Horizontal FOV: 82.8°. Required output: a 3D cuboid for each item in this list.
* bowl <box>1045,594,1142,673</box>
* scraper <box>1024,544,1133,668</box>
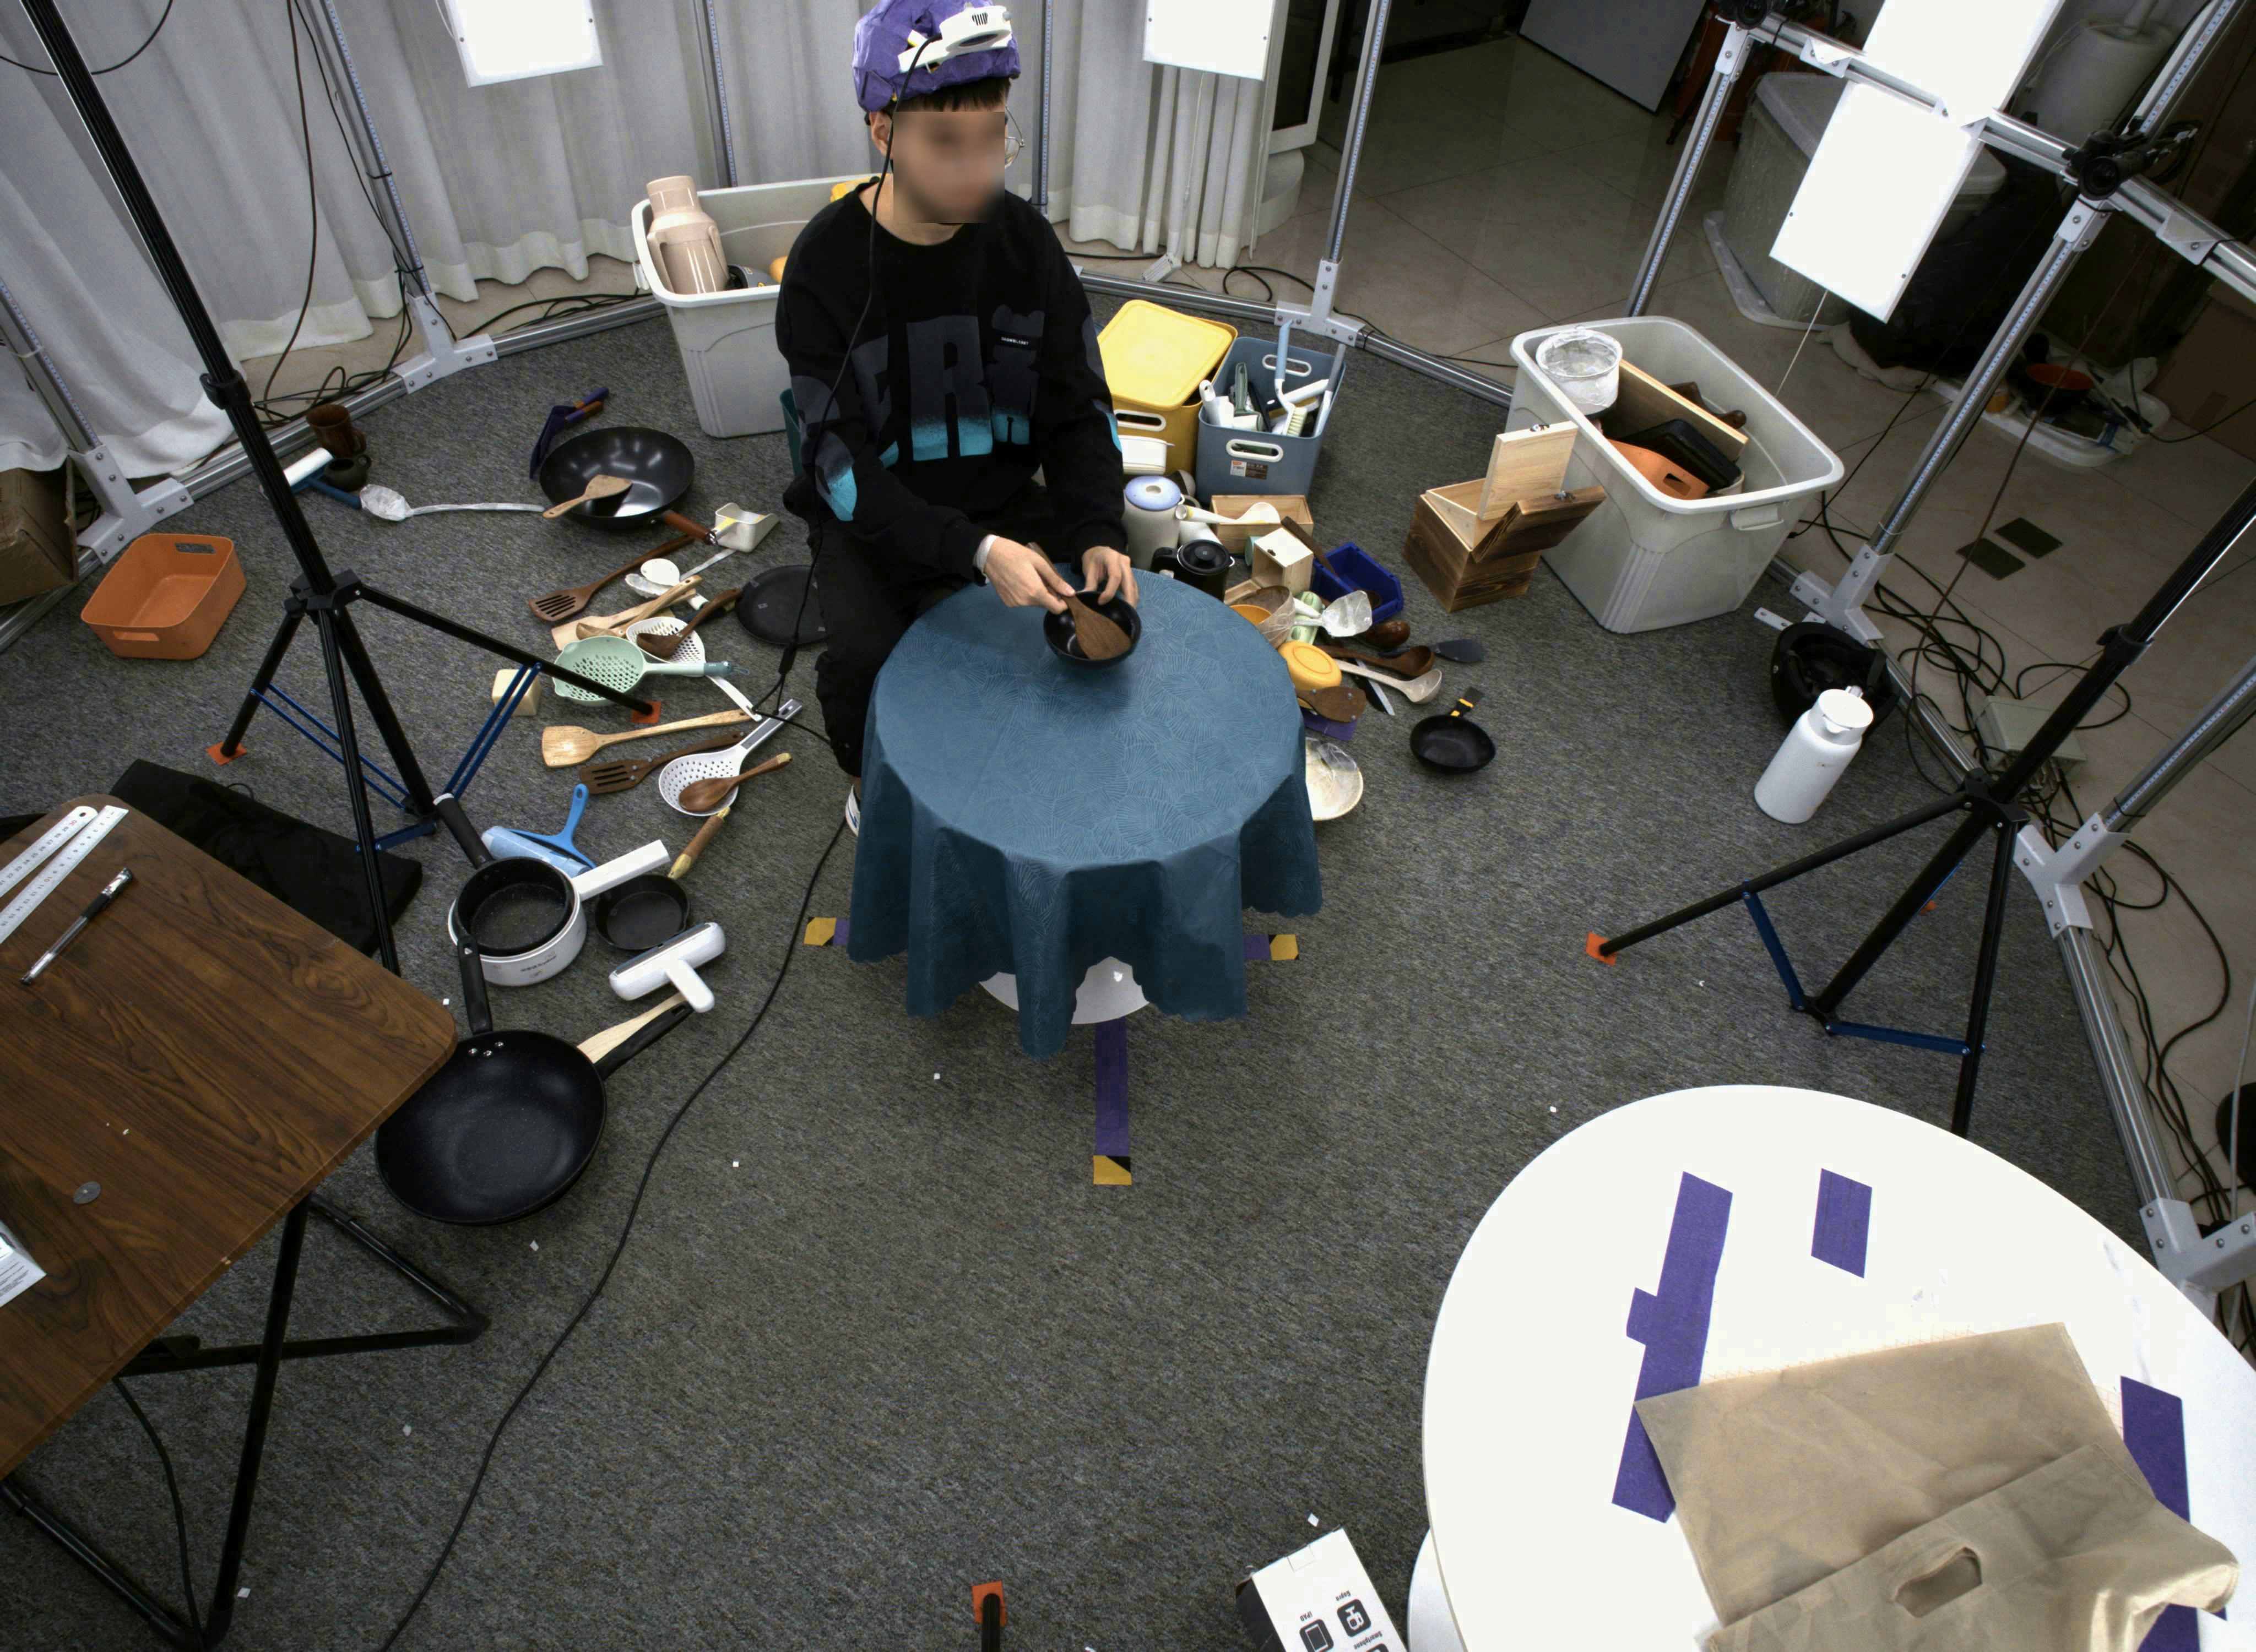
[{"bbox_3d":[-0.049,-0.268,1.847,0.140,0.048,0.143,0,52,0],"label":"bowl"},{"bbox_3d":[-0.078,-0.318,1.840,0.076,0.010,0.213,-33,81,-27],"label":"scraper"}]
